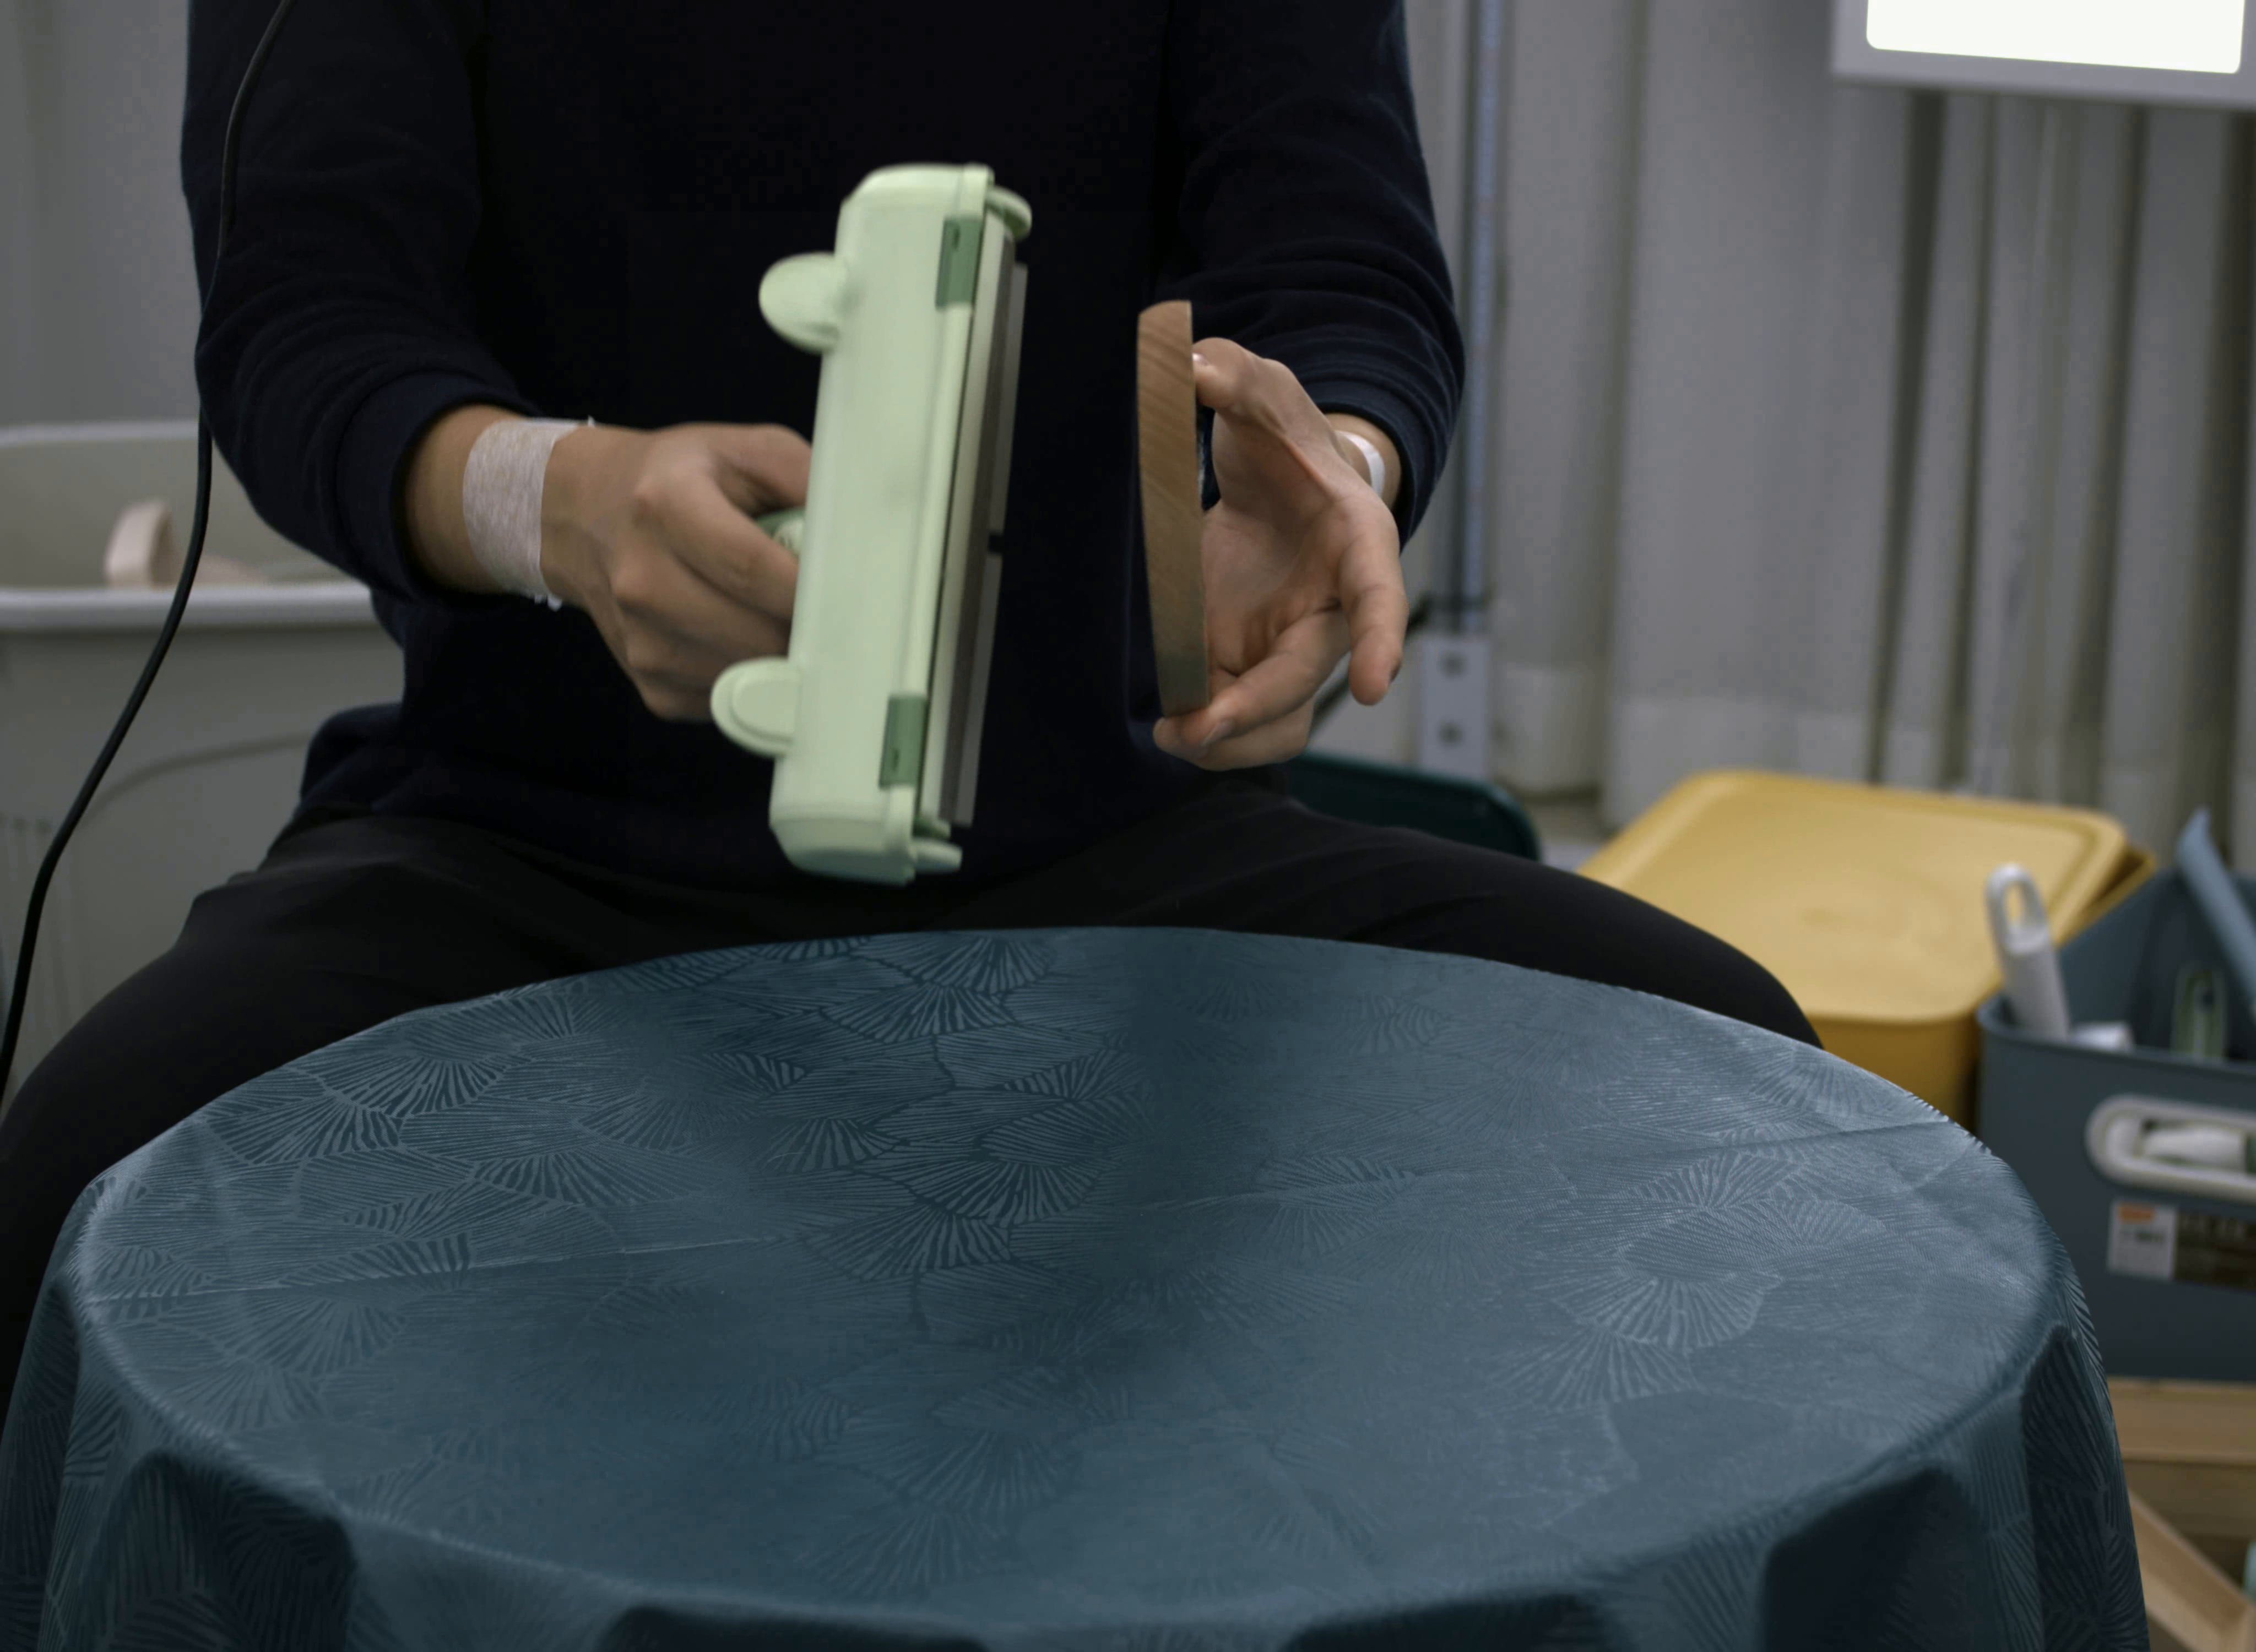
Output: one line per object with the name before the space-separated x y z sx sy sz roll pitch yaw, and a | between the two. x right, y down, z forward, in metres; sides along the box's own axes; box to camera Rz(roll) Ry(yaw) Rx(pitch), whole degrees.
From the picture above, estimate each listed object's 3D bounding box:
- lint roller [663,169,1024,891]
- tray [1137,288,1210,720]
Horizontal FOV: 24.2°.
lint roller | -0.103 -0.078 1.496 0.083 0.198 0.181 14 -13 -36
tray | 0.013 -0.088 1.492 0.020 0.102 0.231 -2 -6 0
